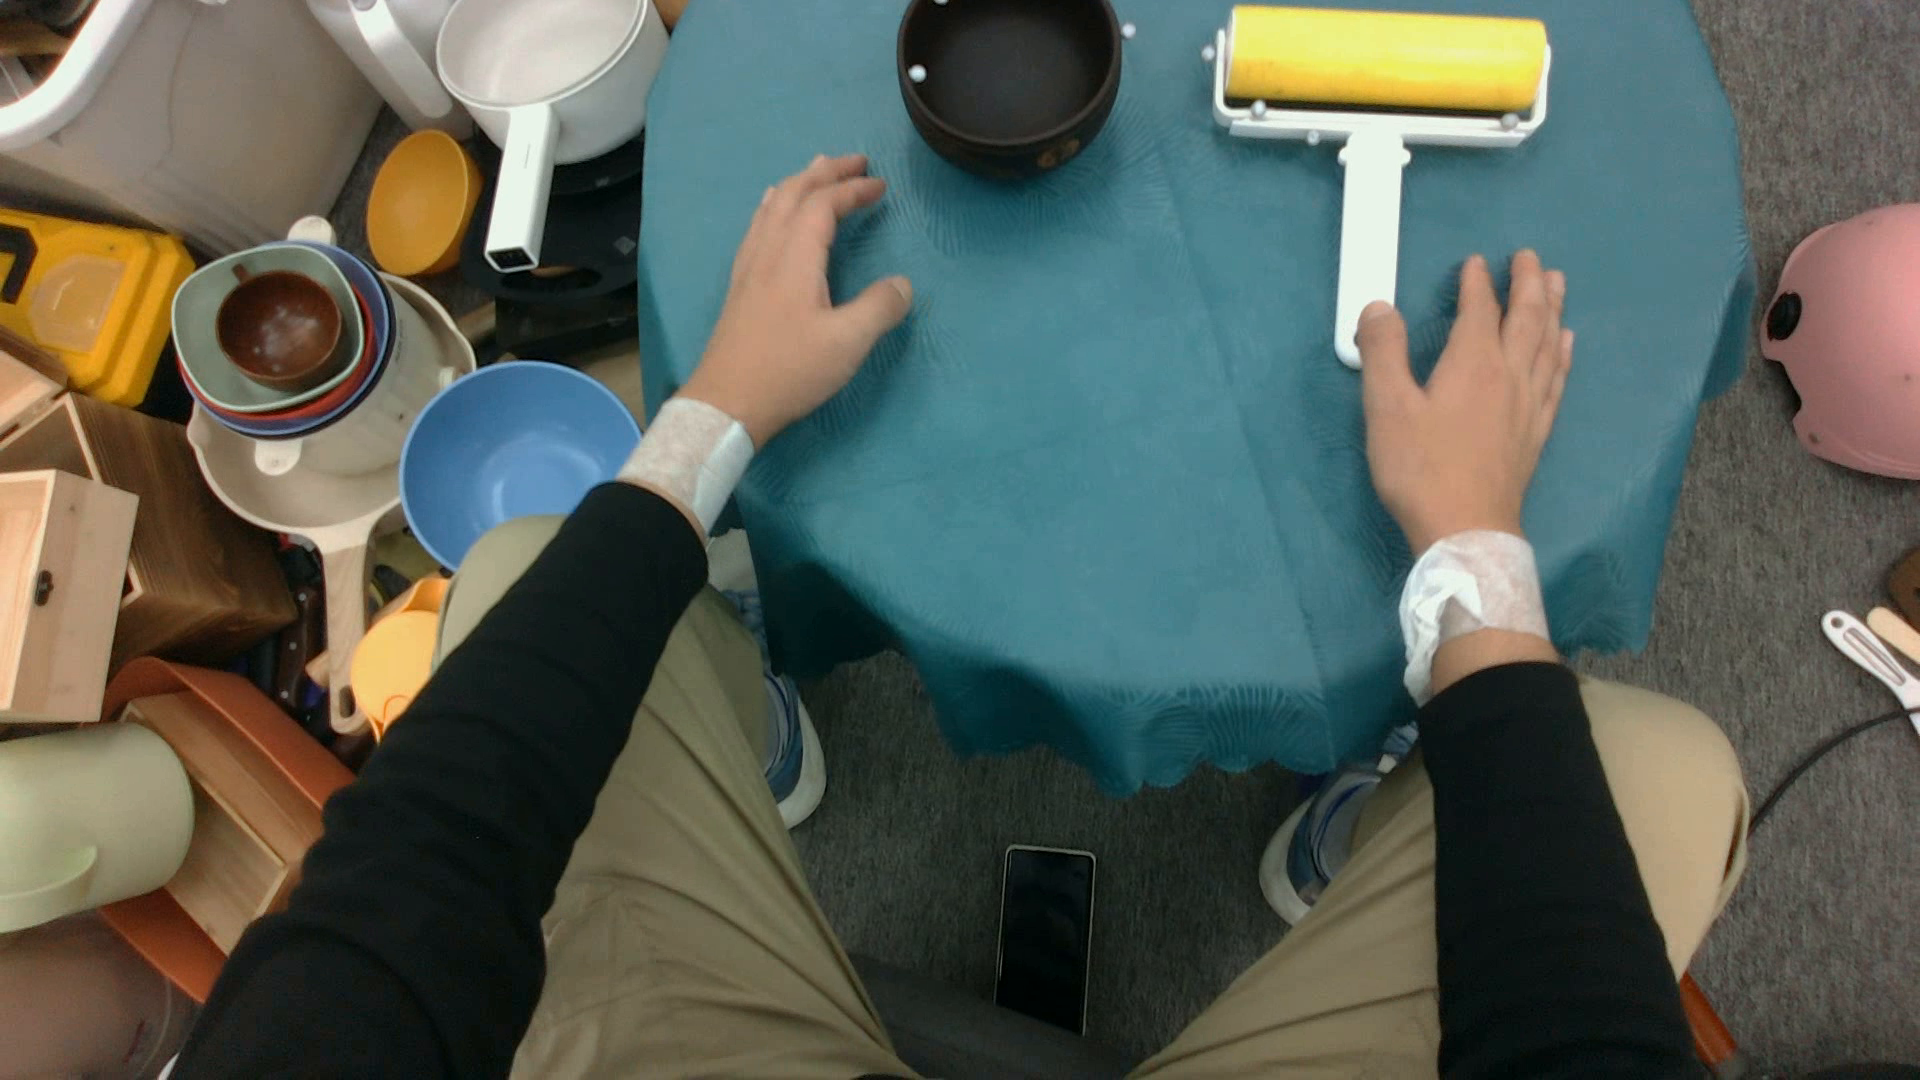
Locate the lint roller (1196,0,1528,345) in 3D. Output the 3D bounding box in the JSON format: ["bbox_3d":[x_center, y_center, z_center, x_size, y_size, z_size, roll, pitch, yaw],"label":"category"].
[{"bbox_3d":[0.213,-0.200,0.726,0.174,0.051,0.192,2,72,3],"label":"lint roller"}]

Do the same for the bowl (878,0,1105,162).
[{"bbox_3d":[0.017,-0.255,0.734,0.118,0.070,0.118,-1,76,3],"label":"bowl"}]
